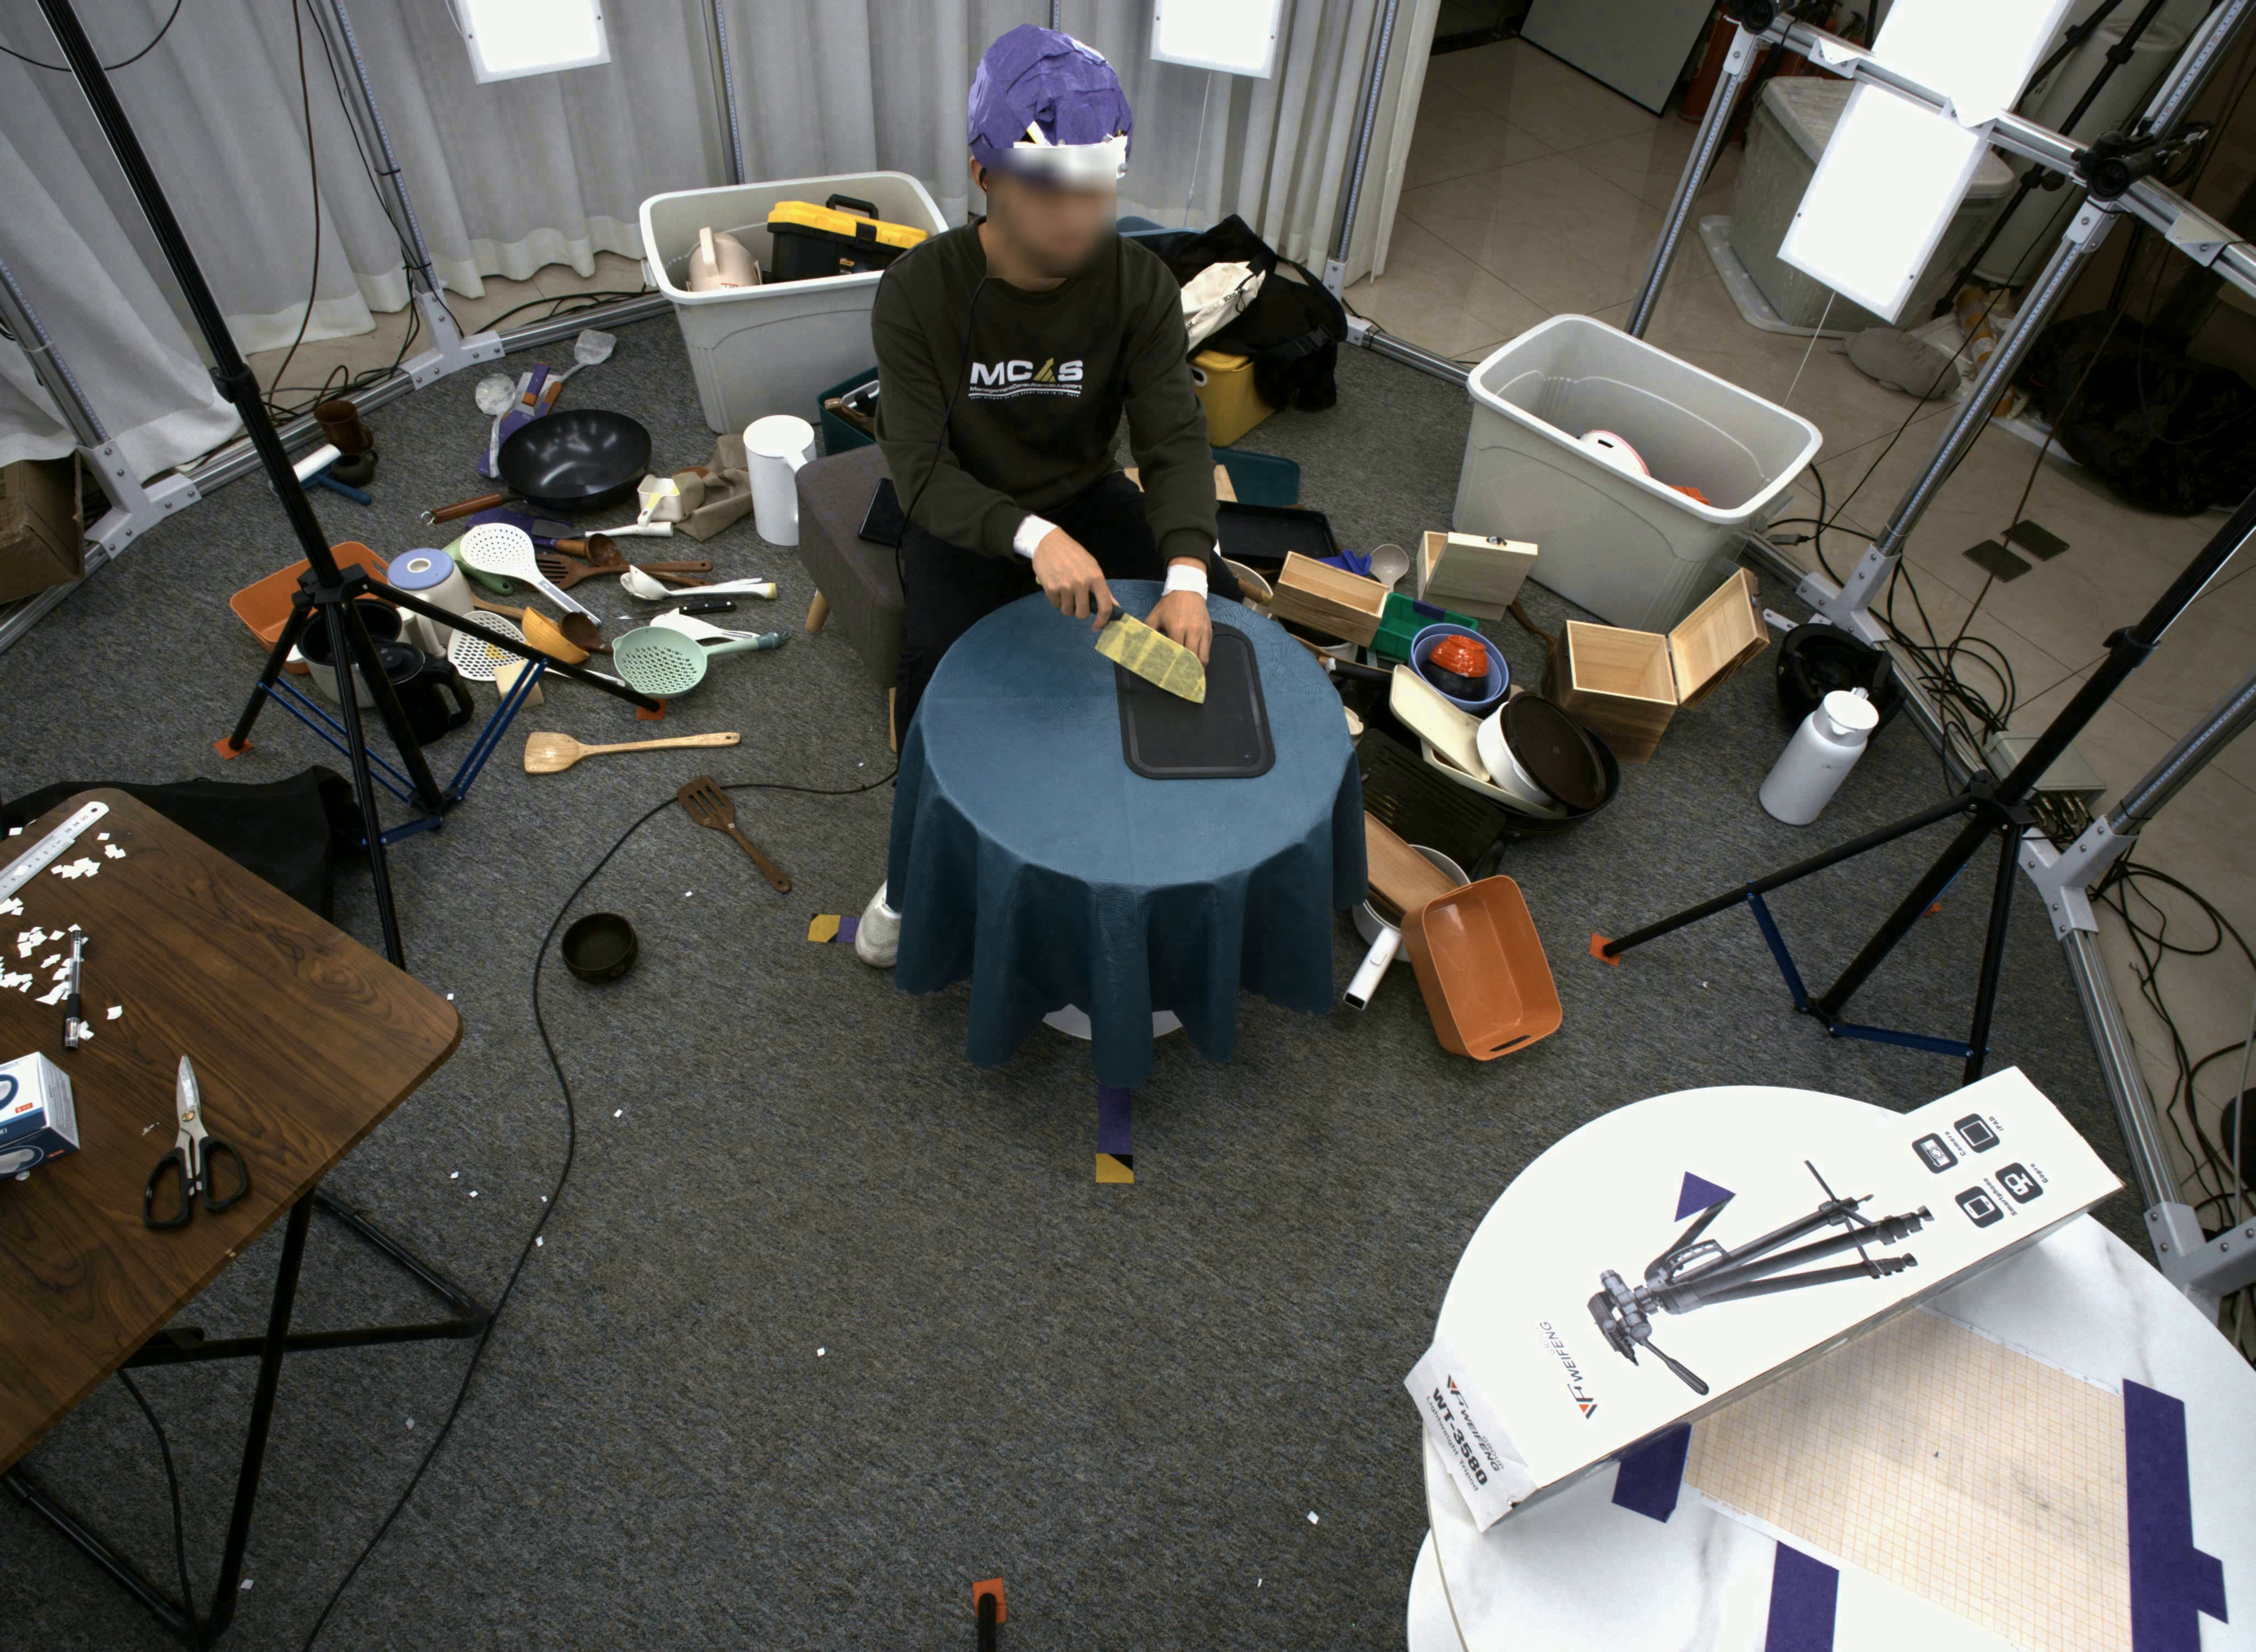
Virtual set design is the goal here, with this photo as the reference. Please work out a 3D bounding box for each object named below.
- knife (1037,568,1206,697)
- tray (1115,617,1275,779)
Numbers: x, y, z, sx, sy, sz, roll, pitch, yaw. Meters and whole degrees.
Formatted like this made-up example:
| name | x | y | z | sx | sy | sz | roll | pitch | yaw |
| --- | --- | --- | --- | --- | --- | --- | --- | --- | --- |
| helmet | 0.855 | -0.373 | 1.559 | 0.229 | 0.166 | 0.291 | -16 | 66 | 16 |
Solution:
| name | x | y | z | sx | sy | sz | roll | pitch | yaw |
| --- | --- | --- | --- | --- | --- | --- | --- | --- | --- |
| knife | -0.011 | -0.271 | 1.813 | 0.289 | 0.080 | 0.027 | 34 | 29 | 1 |
| tray | 0.090 | -0.191 | 1.834 | 0.211 | 0.009 | 0.333 | -1 | 49 | -5 |
